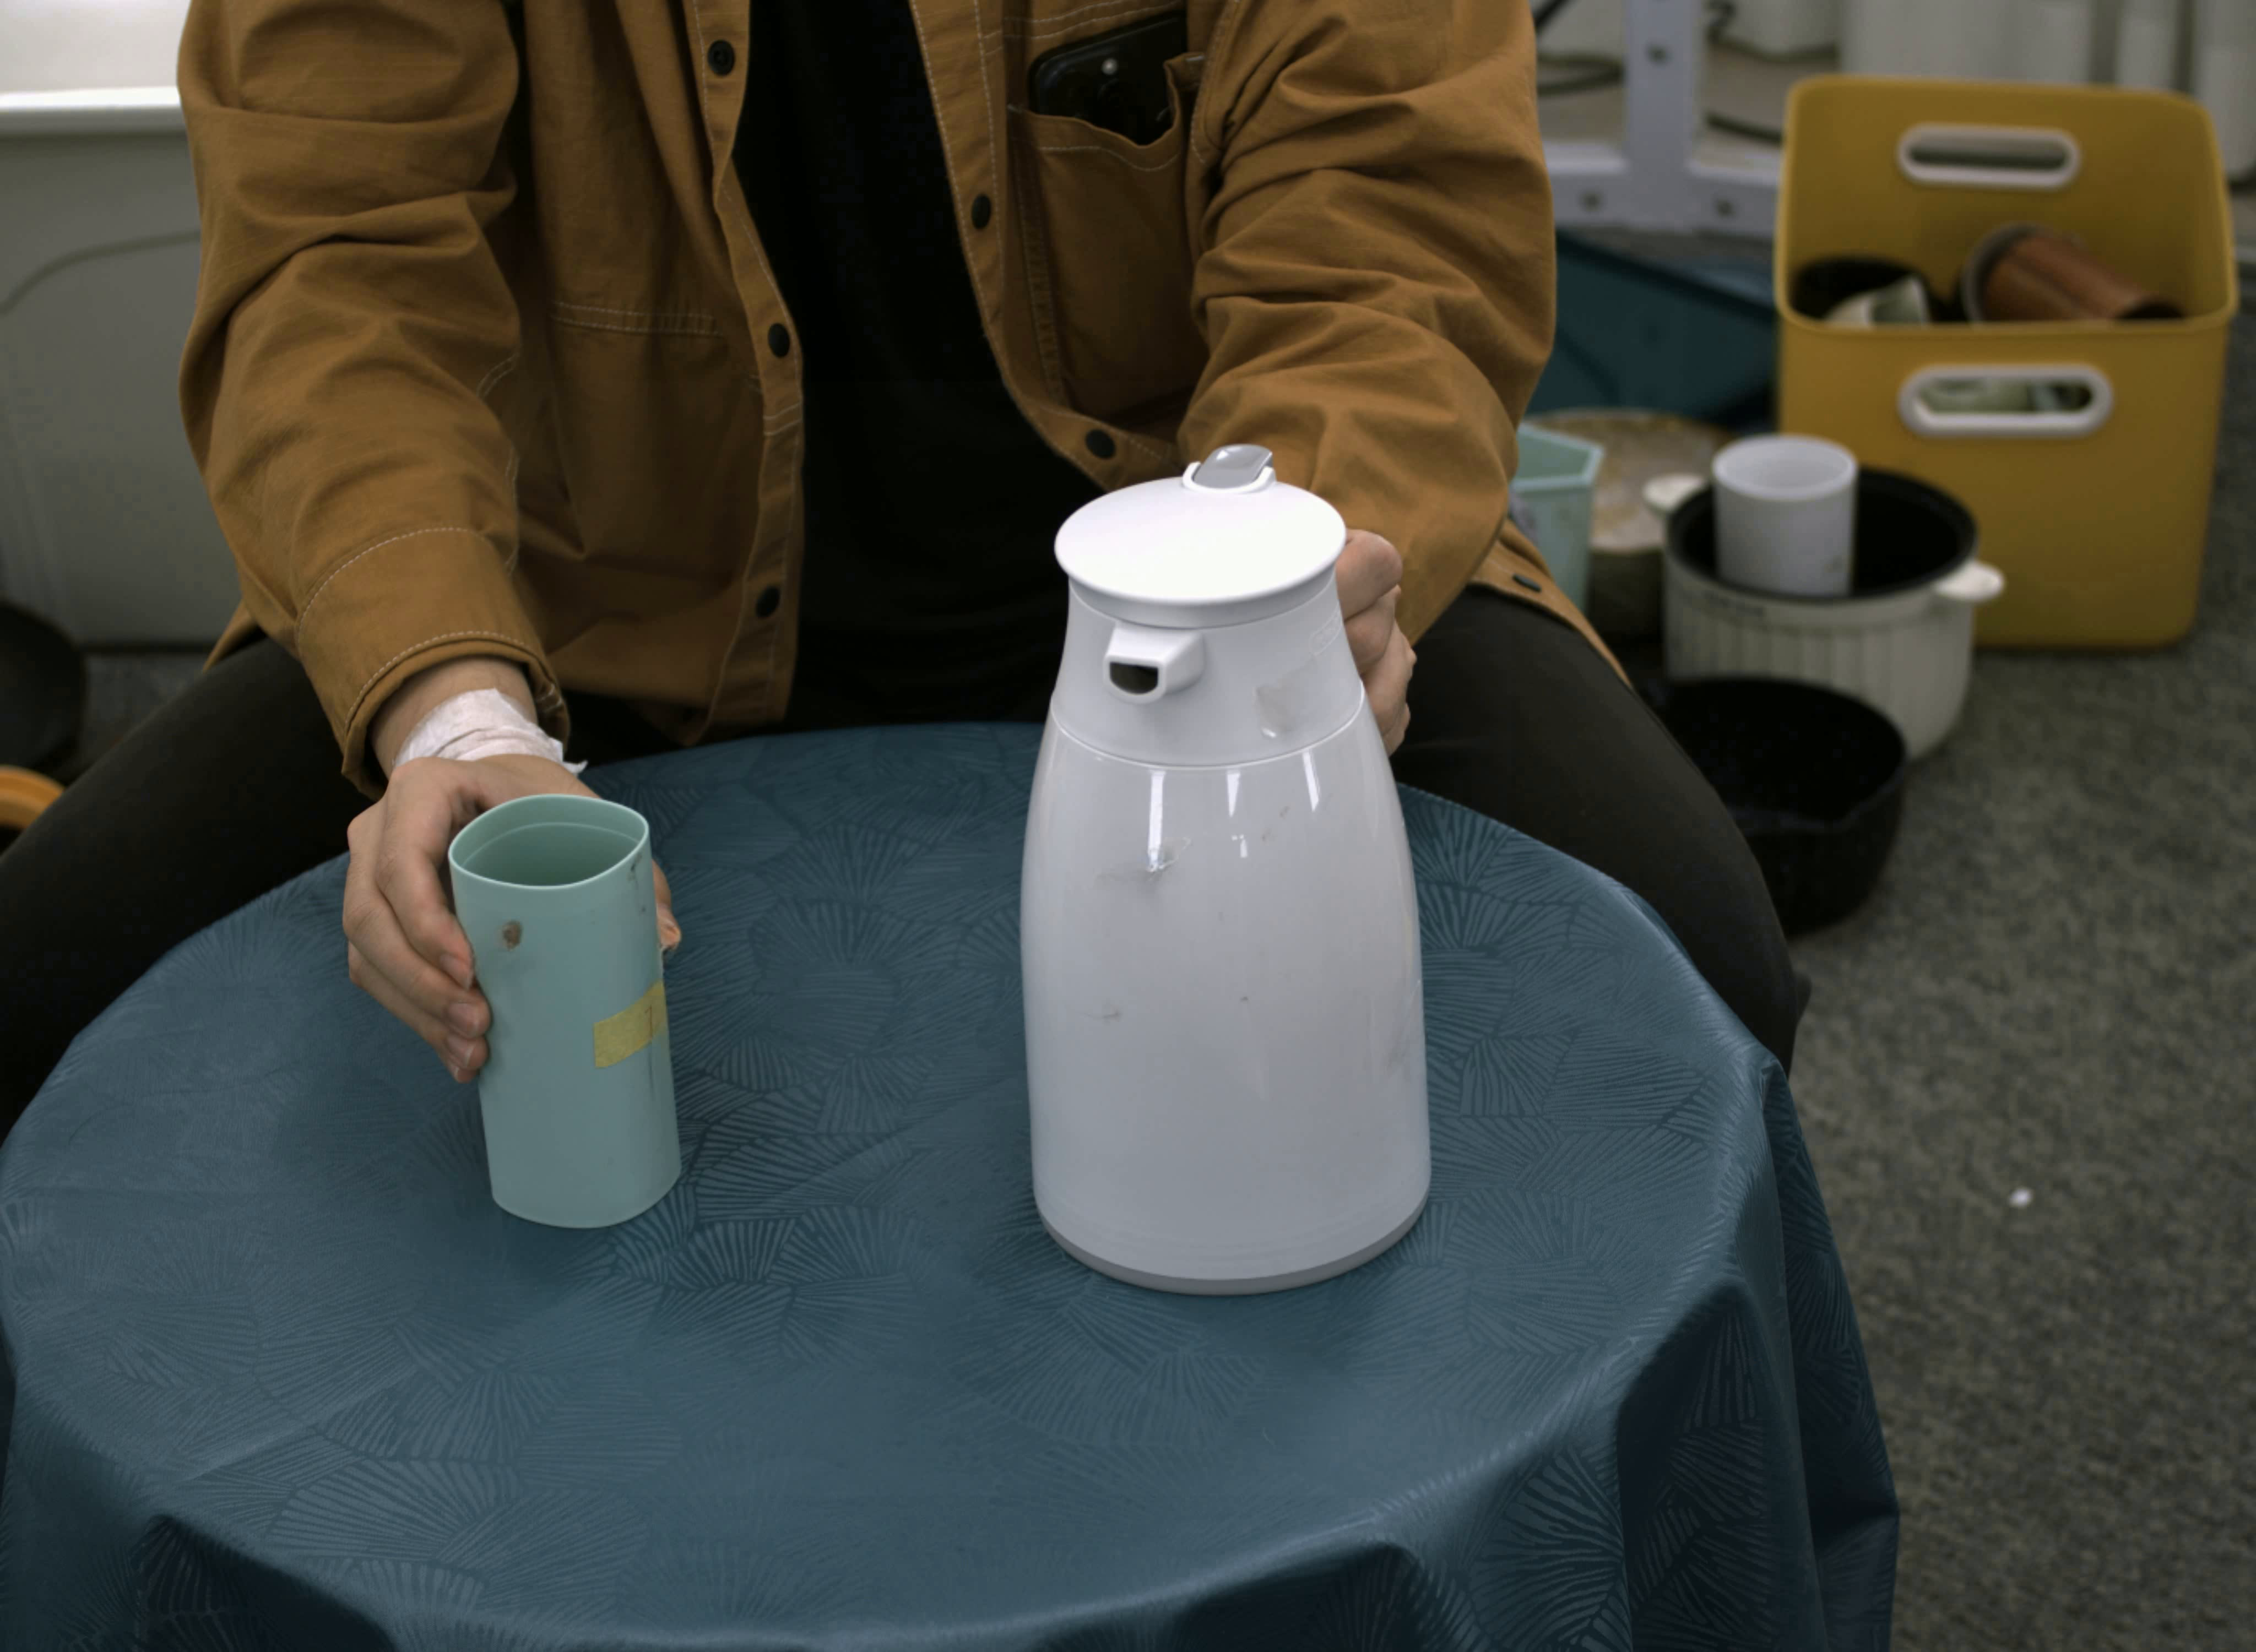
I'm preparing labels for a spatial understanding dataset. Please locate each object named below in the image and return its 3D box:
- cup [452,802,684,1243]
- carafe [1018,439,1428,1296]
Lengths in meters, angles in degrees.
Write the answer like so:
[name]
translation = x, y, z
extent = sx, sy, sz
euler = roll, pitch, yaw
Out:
[cup]
translation = -0.185, 0.065, 1.854
extent = 0.066, 0.131, 0.068
euler = -2, 26, 1
[carafe]
translation = 0.033, 0.002, 1.821
extent = 0.131, 0.246, 0.170
euler = 6, 27, 18
